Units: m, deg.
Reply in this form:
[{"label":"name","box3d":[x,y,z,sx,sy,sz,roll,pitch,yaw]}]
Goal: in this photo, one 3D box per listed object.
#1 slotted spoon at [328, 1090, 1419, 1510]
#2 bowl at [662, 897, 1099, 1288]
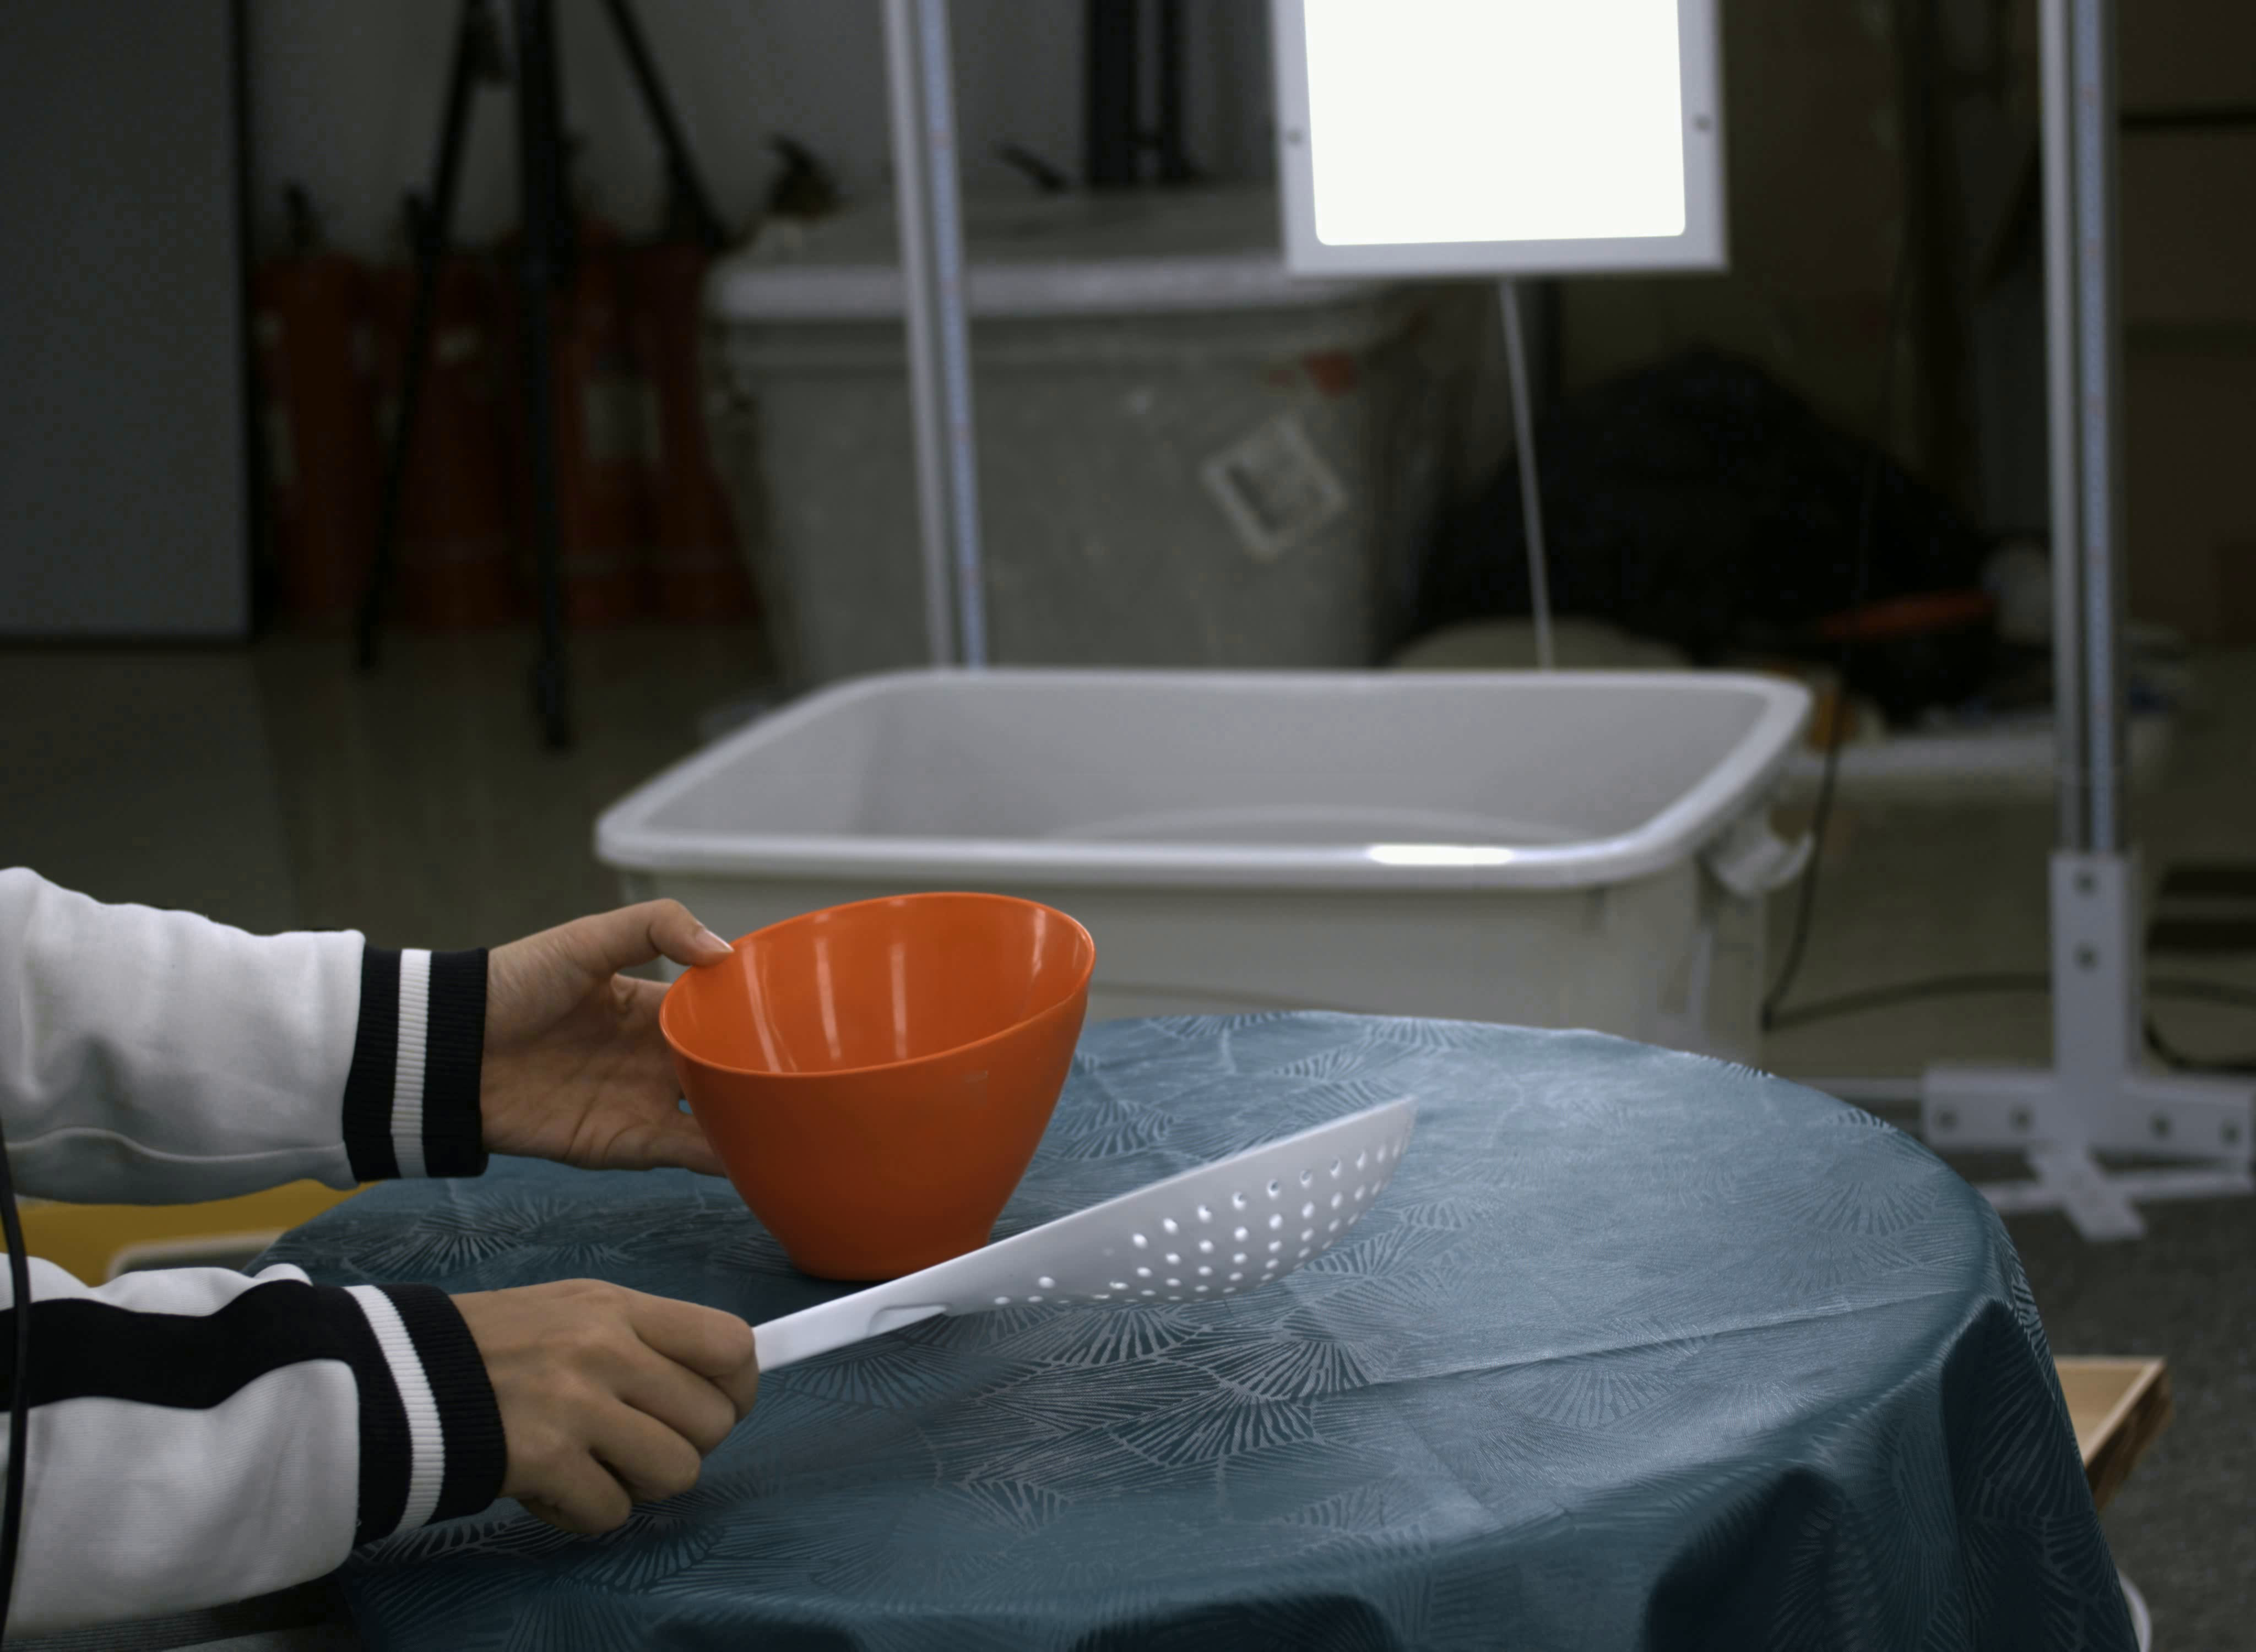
[{"label":"slotted spoon","box3d":[-0.072,0.143,1.658,0.345,0.046,0.137,-13,-8,-12]},{"label":"bowl","box3d":[-0.081,0.093,1.852,0.147,0.105,0.148,-4,13,-1]}]
